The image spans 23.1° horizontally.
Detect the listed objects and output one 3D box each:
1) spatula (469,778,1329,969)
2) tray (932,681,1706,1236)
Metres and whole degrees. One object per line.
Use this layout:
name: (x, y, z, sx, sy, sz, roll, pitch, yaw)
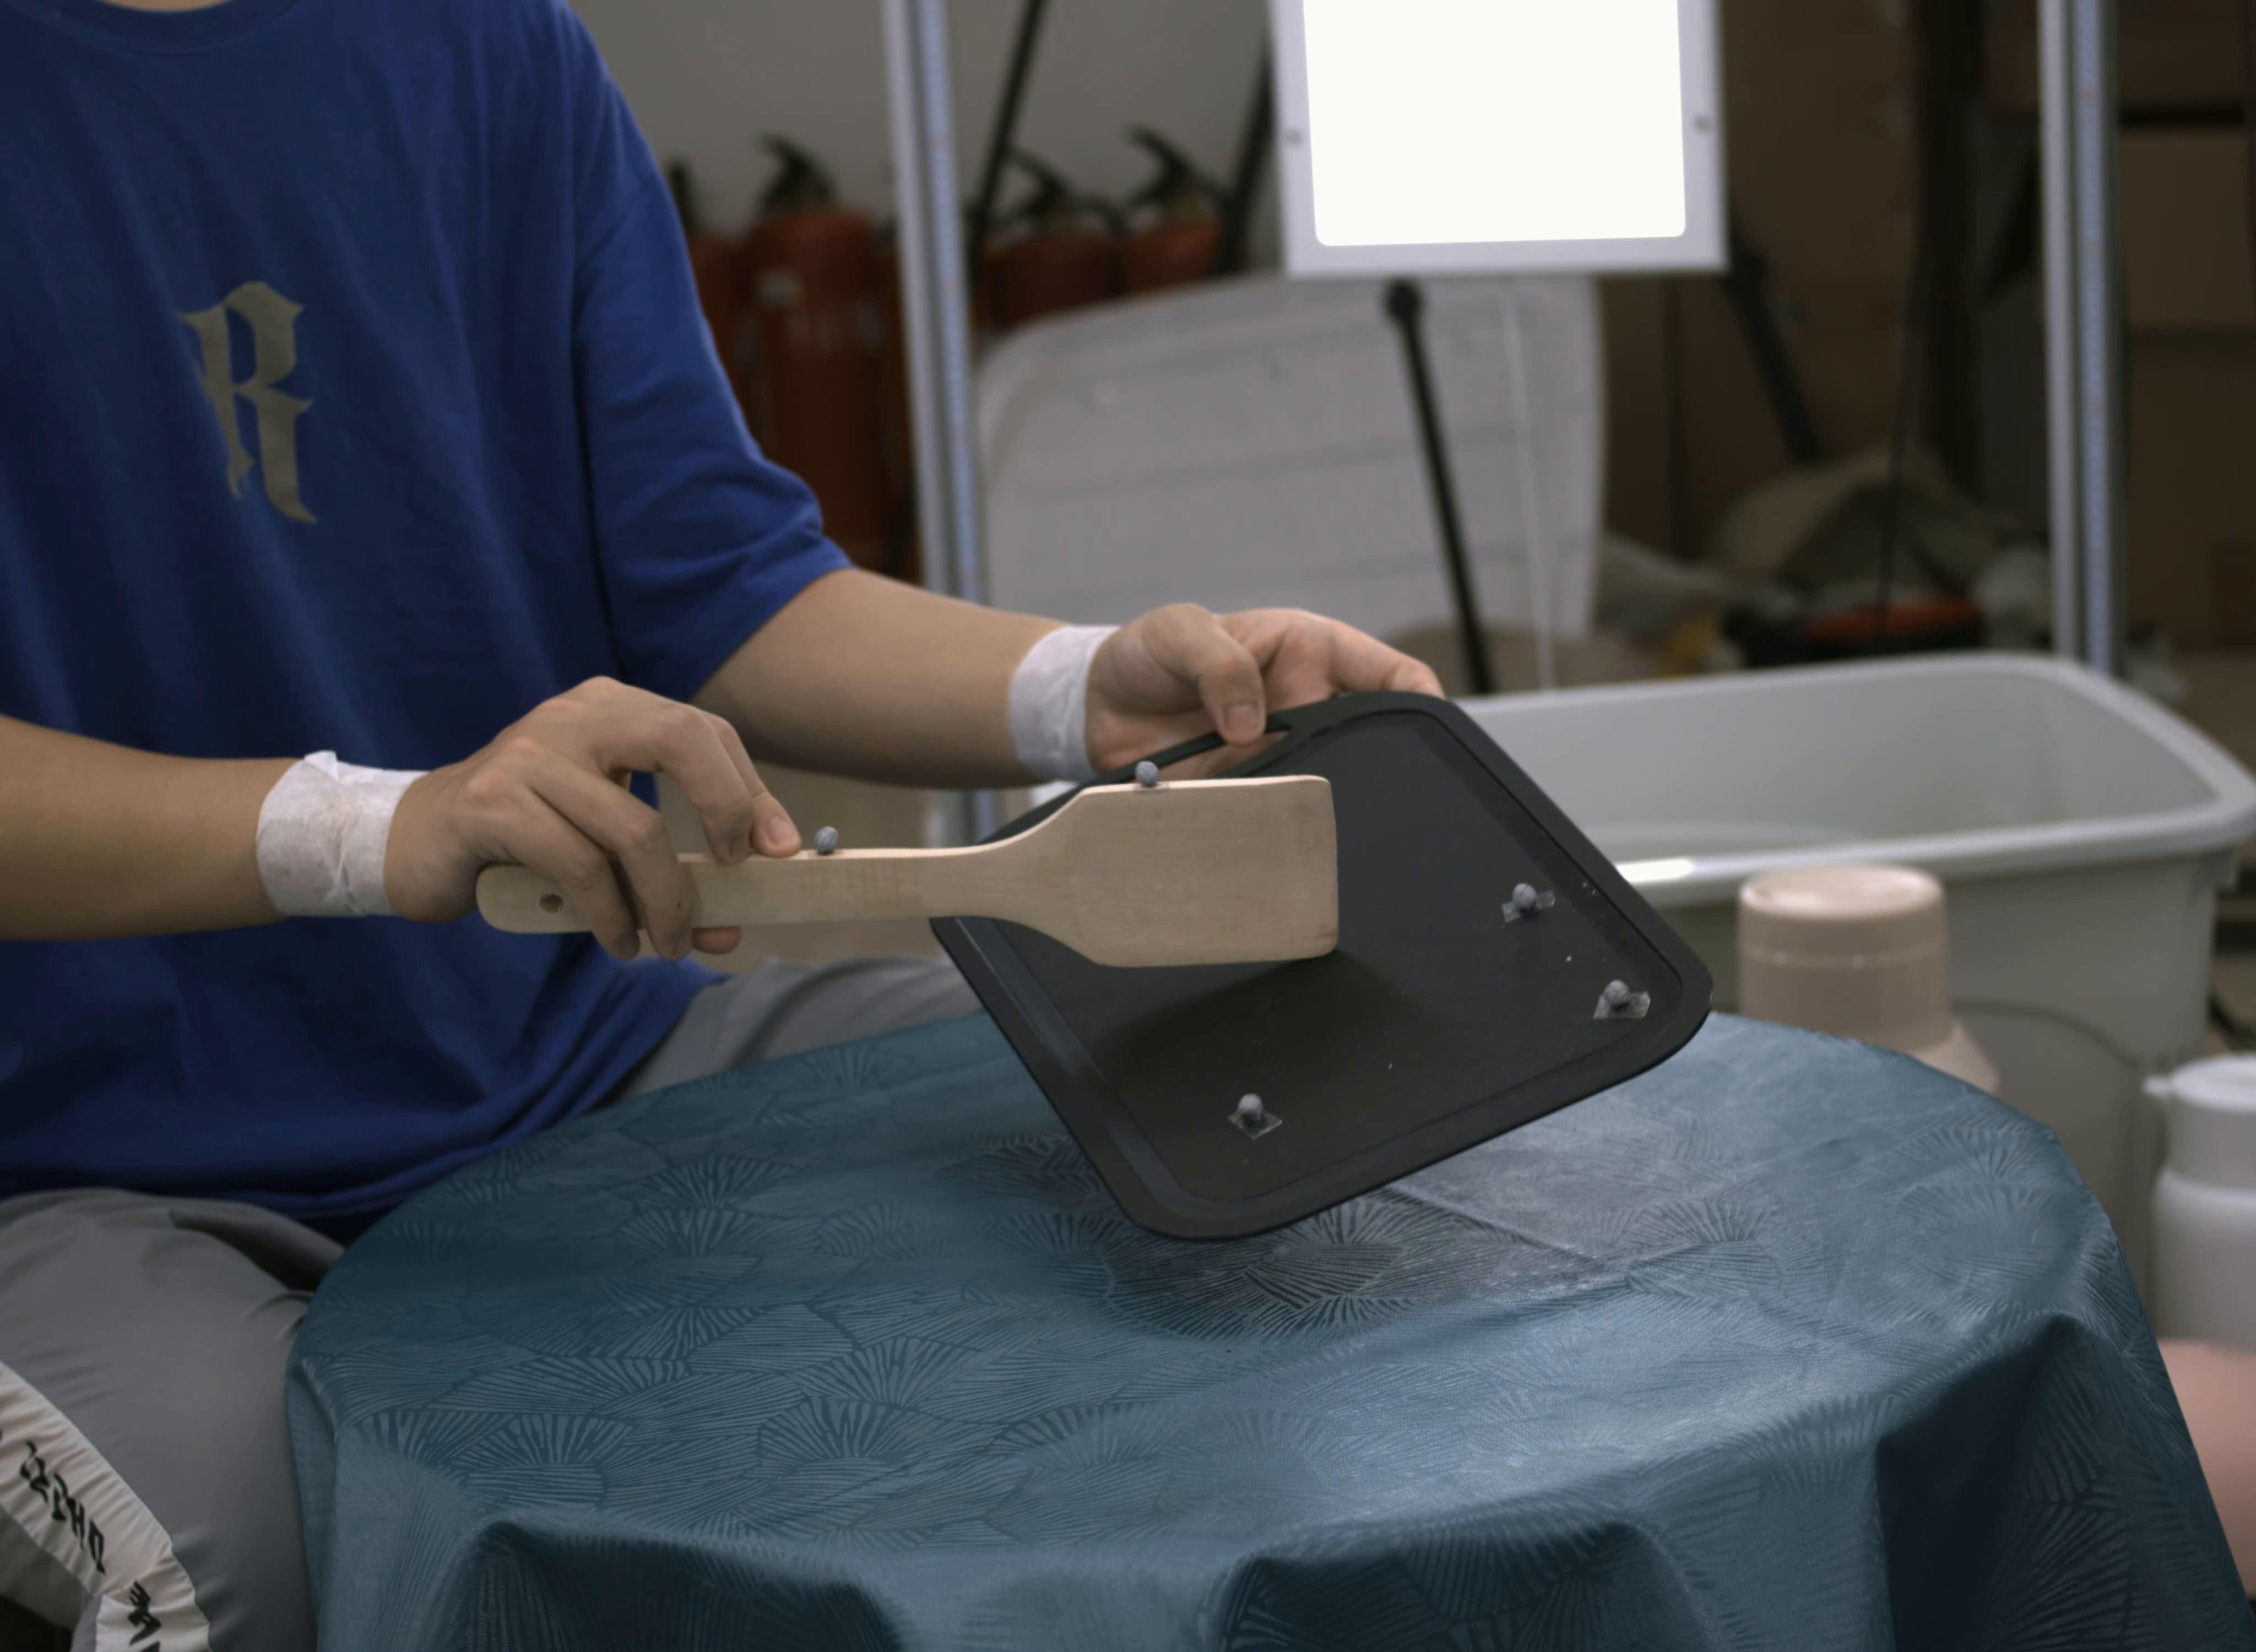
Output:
spatula: (-0.078, 0.019, 1.863, 0.293, 0.072, 0.010, -2, 31, 6)
tray: (0.055, 0.035, 1.887, 0.209, 0.010, 0.328, -23, 30, -7)
